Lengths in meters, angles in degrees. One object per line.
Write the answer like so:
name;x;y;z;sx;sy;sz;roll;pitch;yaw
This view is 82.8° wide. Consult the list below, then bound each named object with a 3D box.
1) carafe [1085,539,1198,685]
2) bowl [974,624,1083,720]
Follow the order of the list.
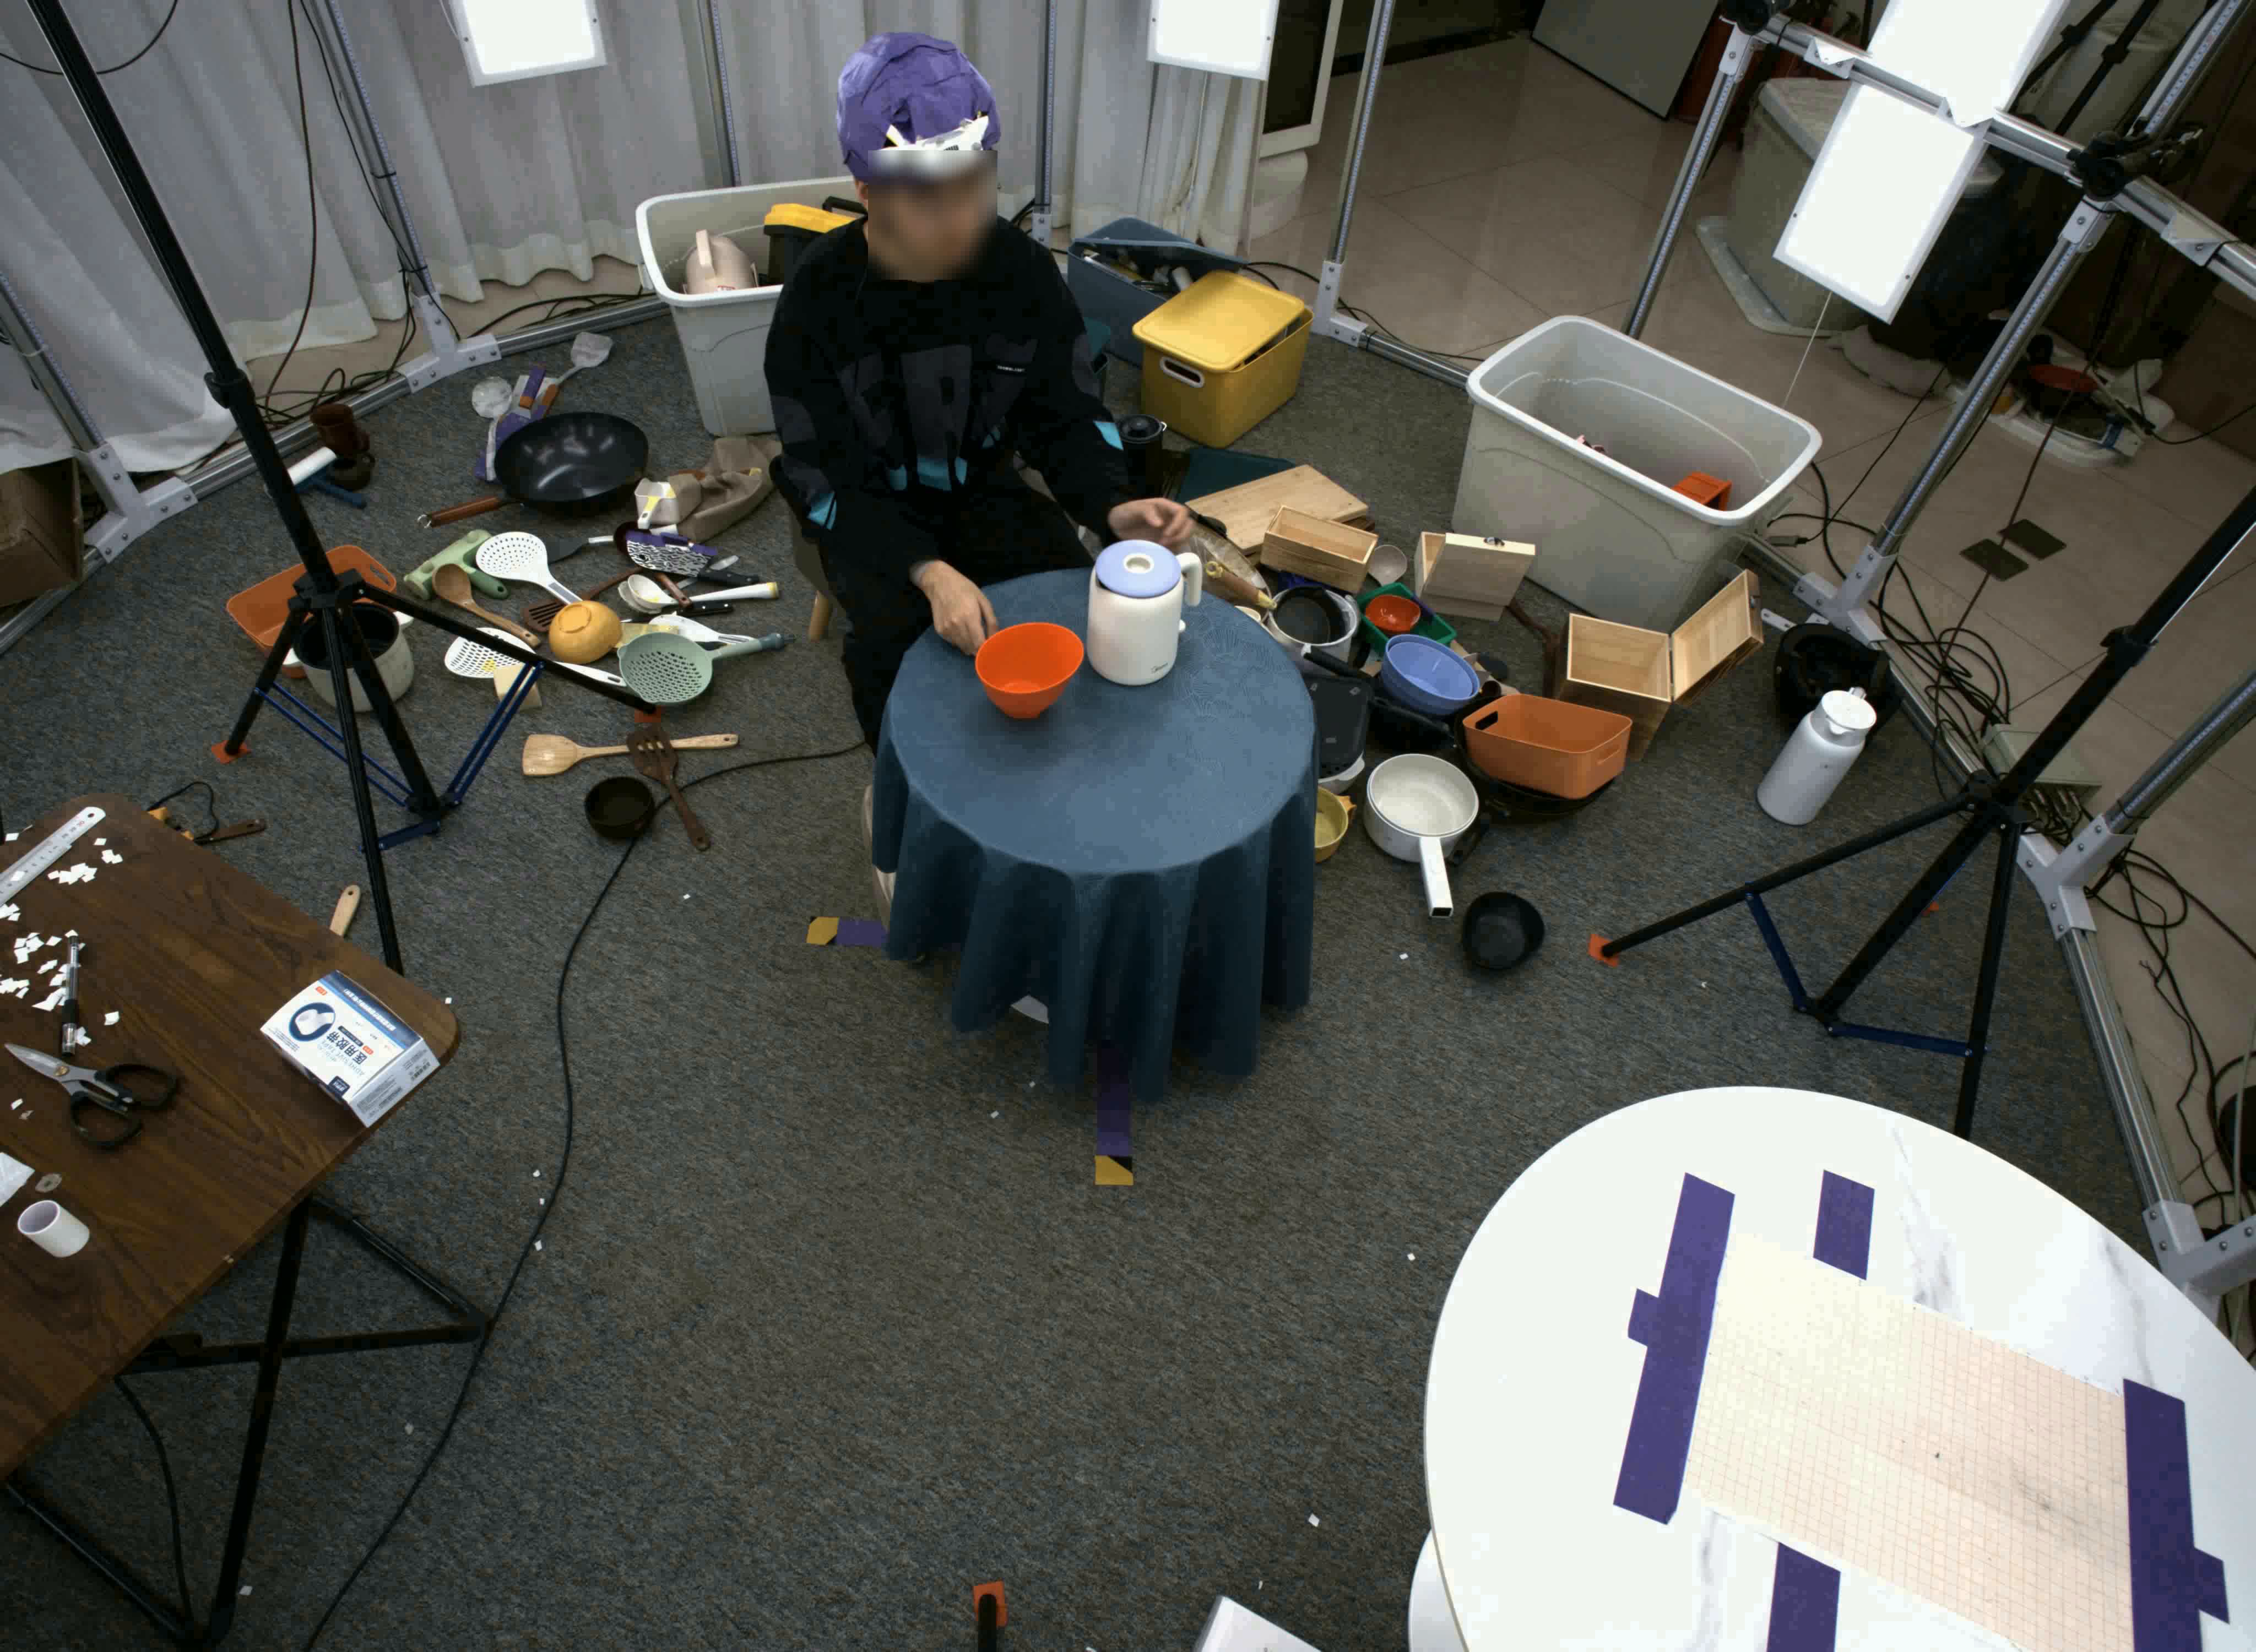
carafe;0.027;-0.313;1.832;0.192;0.178;0.134;-29;58;-28
bowl;-0.137;-0.202;1.769;0.148;0.102;0.152;2;50;-3
